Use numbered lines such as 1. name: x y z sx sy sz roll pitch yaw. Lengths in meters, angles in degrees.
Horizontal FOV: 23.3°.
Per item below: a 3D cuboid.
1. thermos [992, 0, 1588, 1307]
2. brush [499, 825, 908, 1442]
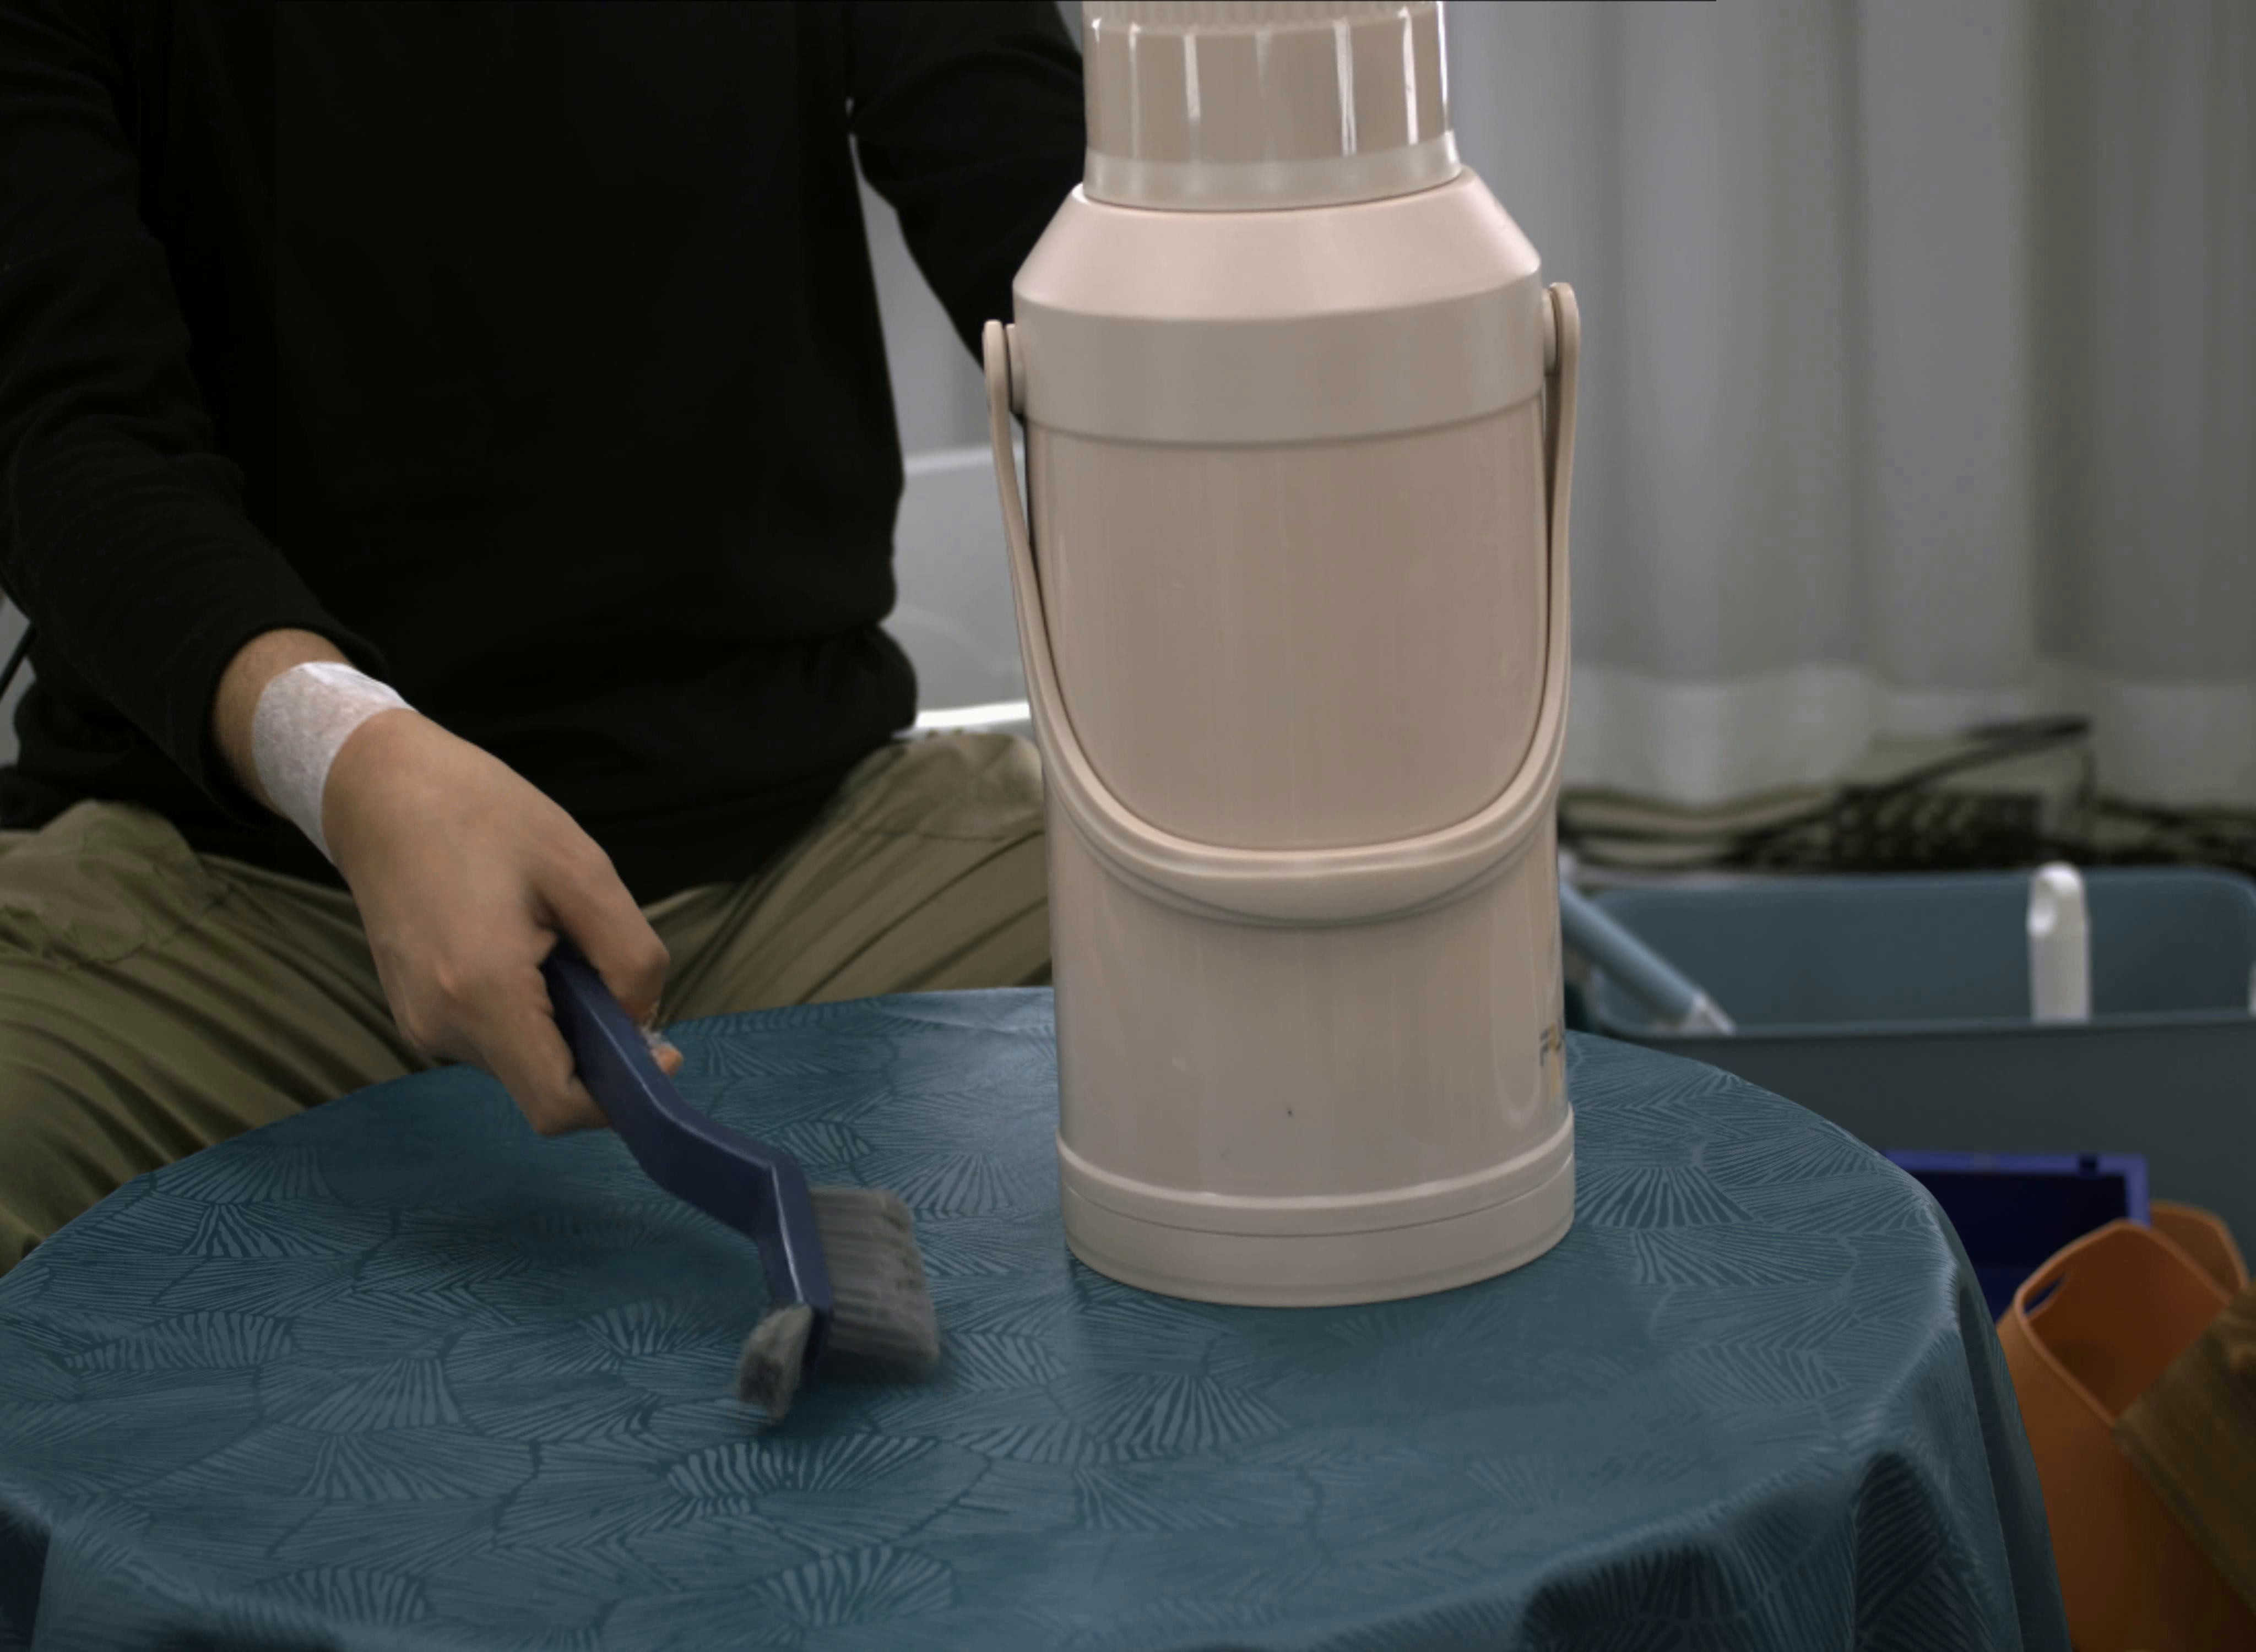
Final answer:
1. thermos: 0.051 -0.074 1.647 0.174 0.405 0.208 -5 14 -4
2. brush: -0.147 0.086 1.633 0.095 0.033 0.276 -9 35 -34
